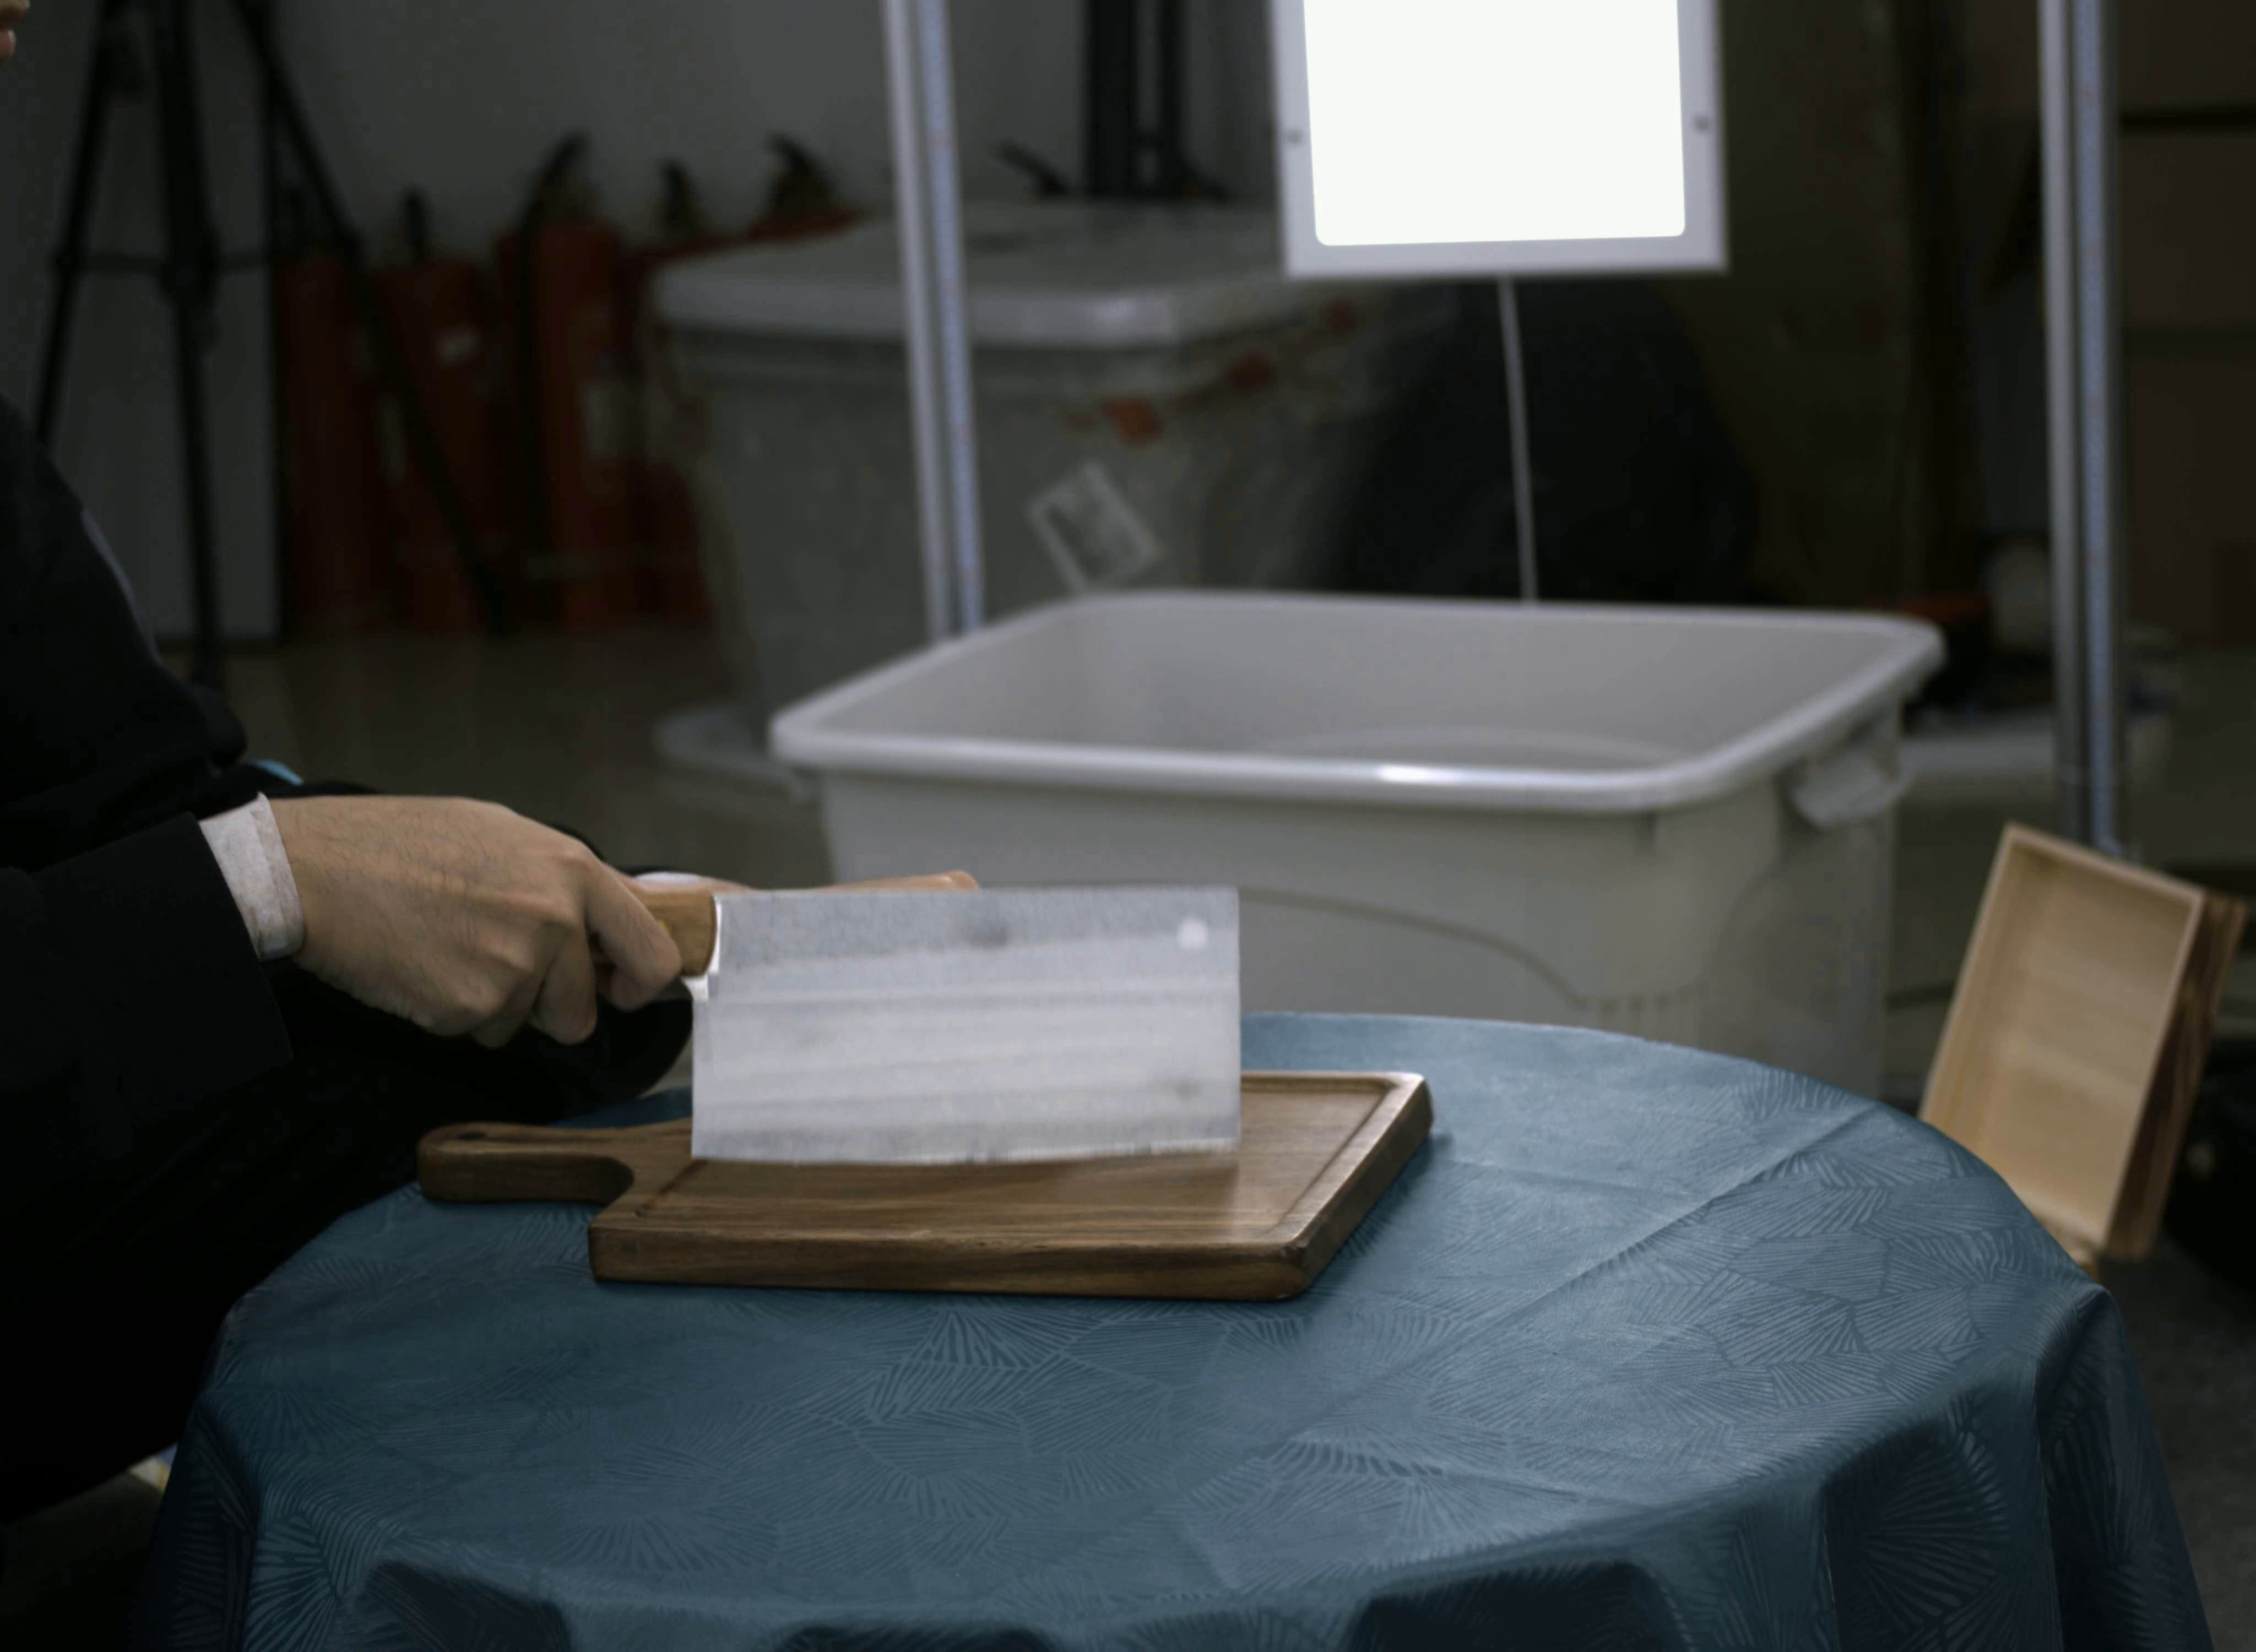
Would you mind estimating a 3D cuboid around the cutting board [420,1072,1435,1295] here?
[{"bbox_3d":[-0.082,0.123,1.912,0.357,0.023,0.198,-2,13,20],"label":"cutting board"}]

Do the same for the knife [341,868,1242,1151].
[{"bbox_3d":[-0.110,0.062,1.852,0.302,0.093,0.021,-1,2,-9],"label":"knife"}]
